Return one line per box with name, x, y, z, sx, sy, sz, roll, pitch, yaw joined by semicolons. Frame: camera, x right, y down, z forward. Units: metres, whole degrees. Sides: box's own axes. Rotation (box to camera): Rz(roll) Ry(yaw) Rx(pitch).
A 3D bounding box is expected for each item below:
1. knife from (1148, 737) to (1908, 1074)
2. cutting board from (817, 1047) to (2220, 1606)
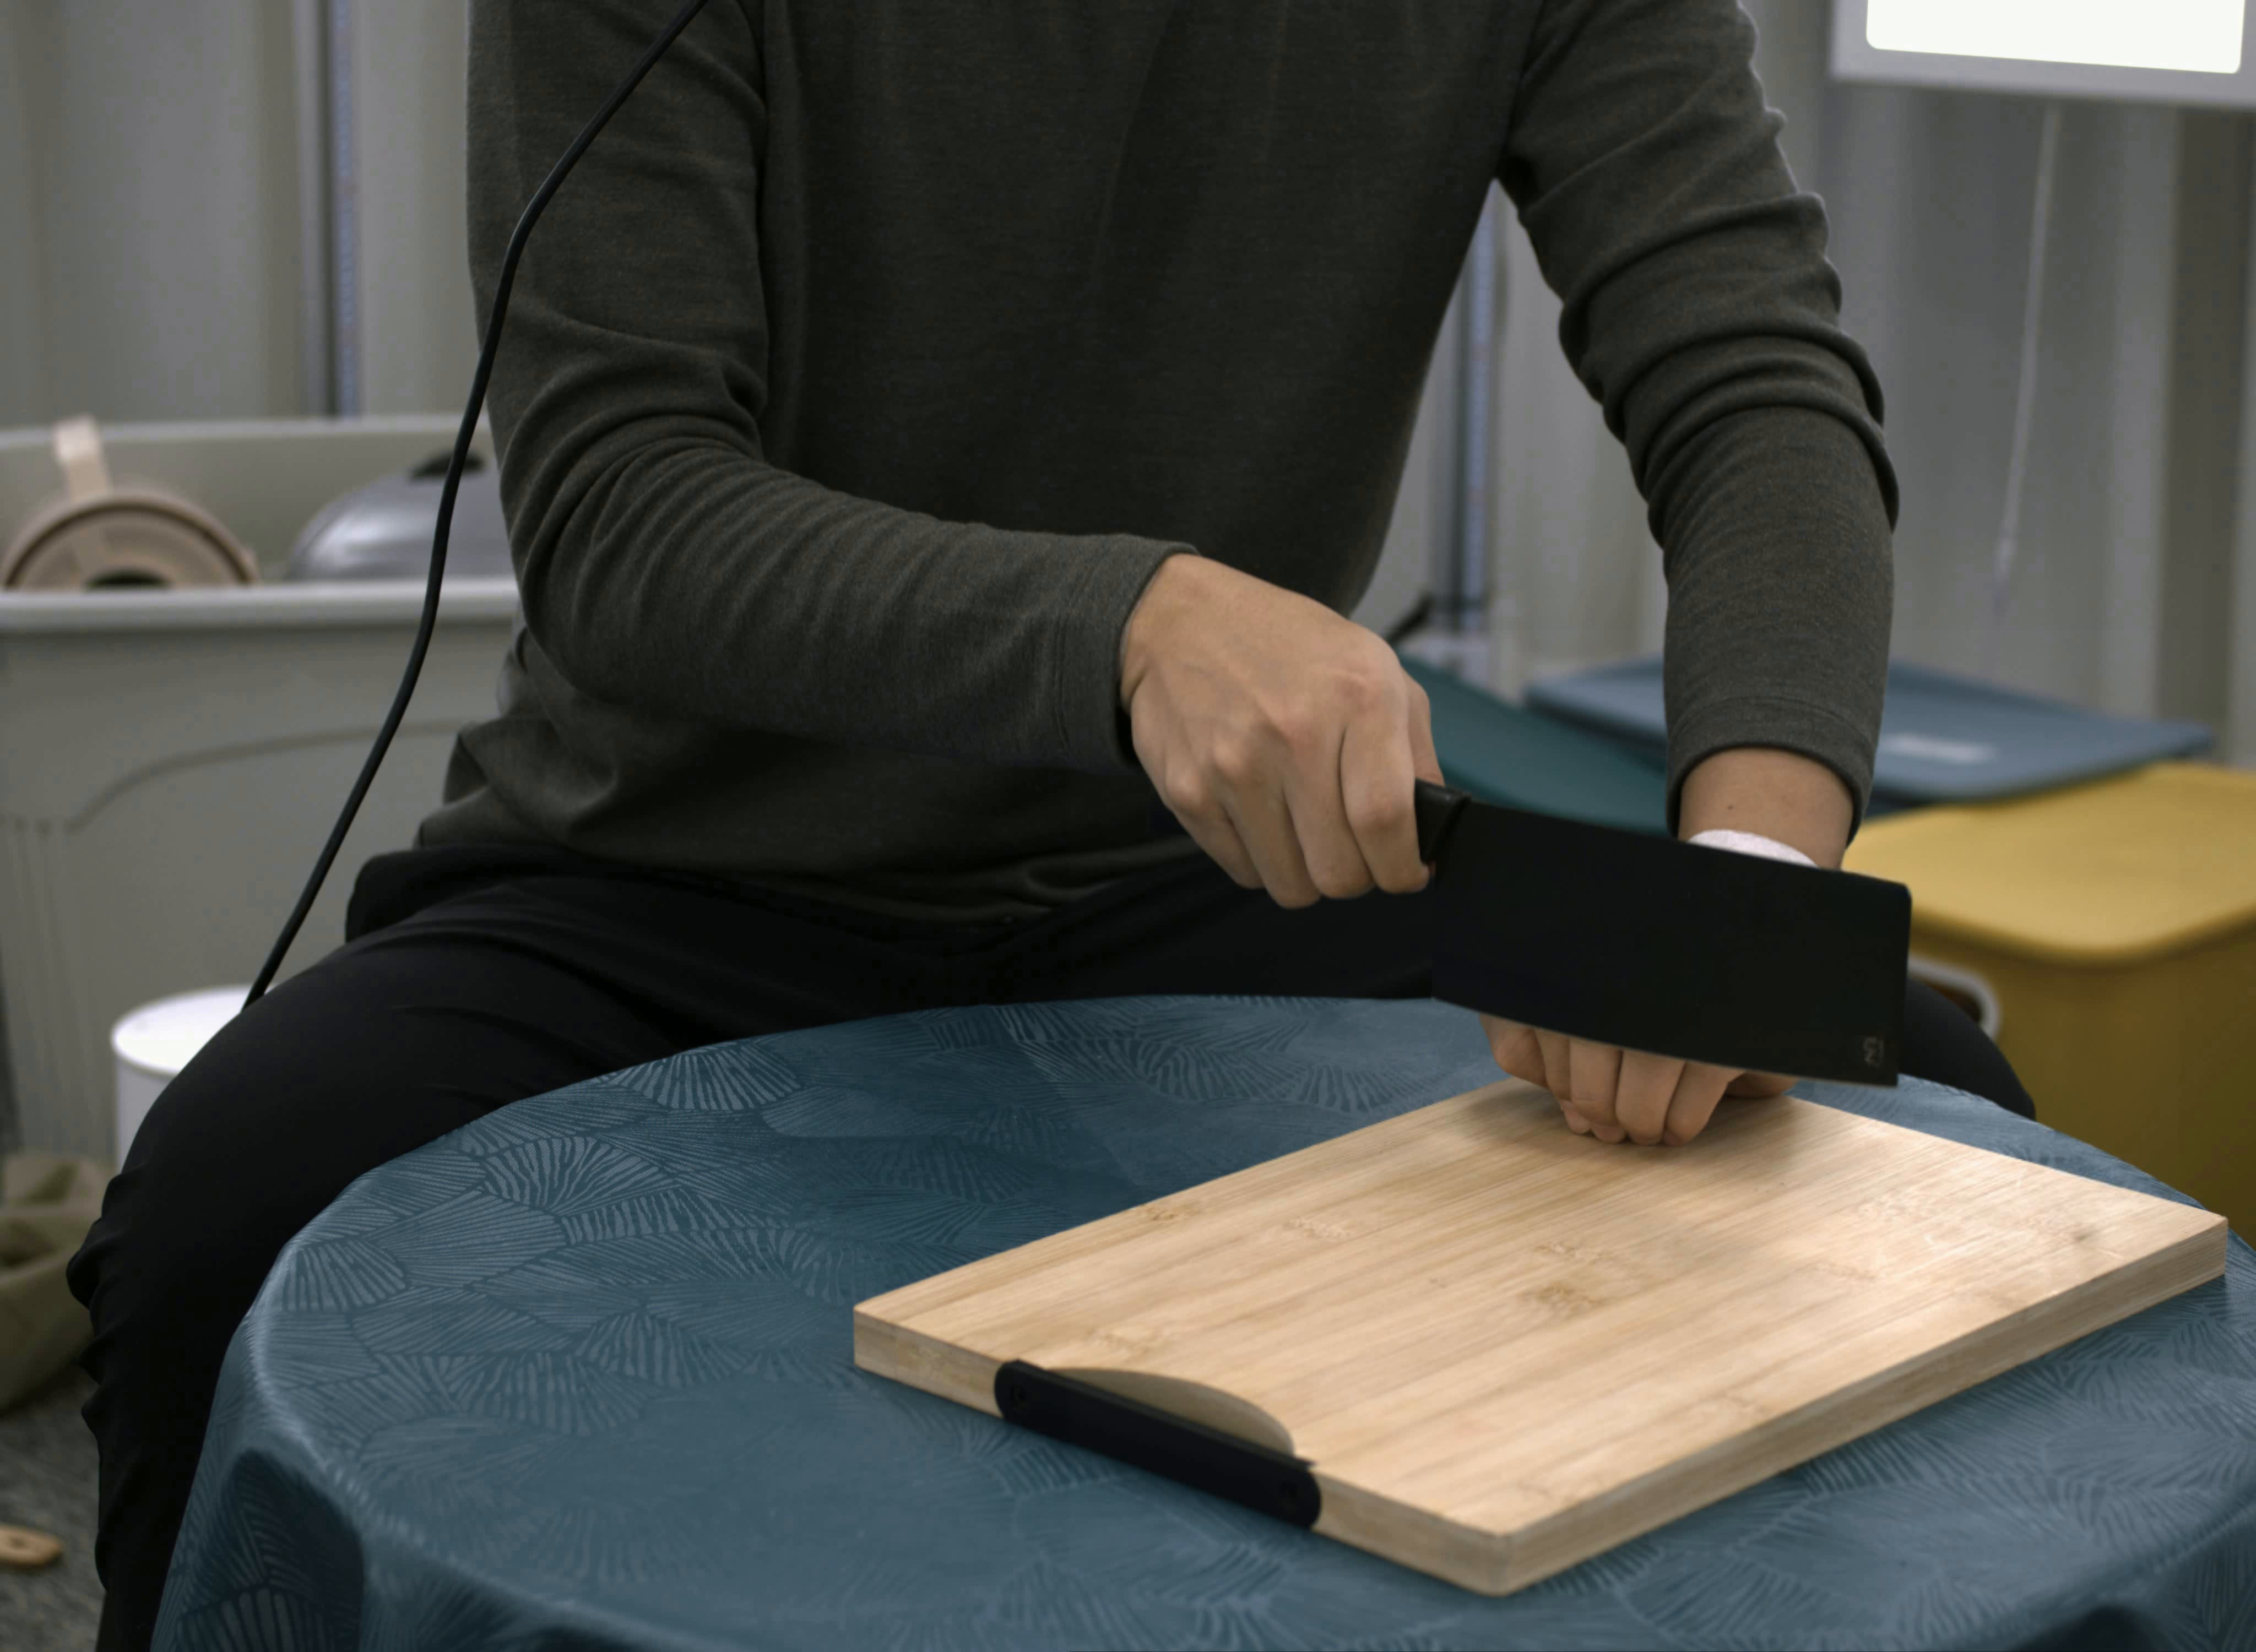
knife;0.117;0.019;1.606;0.298;0.081;0.021;17;18;42
cutting board;0.119;0.135;1.517;0.247;0.024;0.350;13;20;41
